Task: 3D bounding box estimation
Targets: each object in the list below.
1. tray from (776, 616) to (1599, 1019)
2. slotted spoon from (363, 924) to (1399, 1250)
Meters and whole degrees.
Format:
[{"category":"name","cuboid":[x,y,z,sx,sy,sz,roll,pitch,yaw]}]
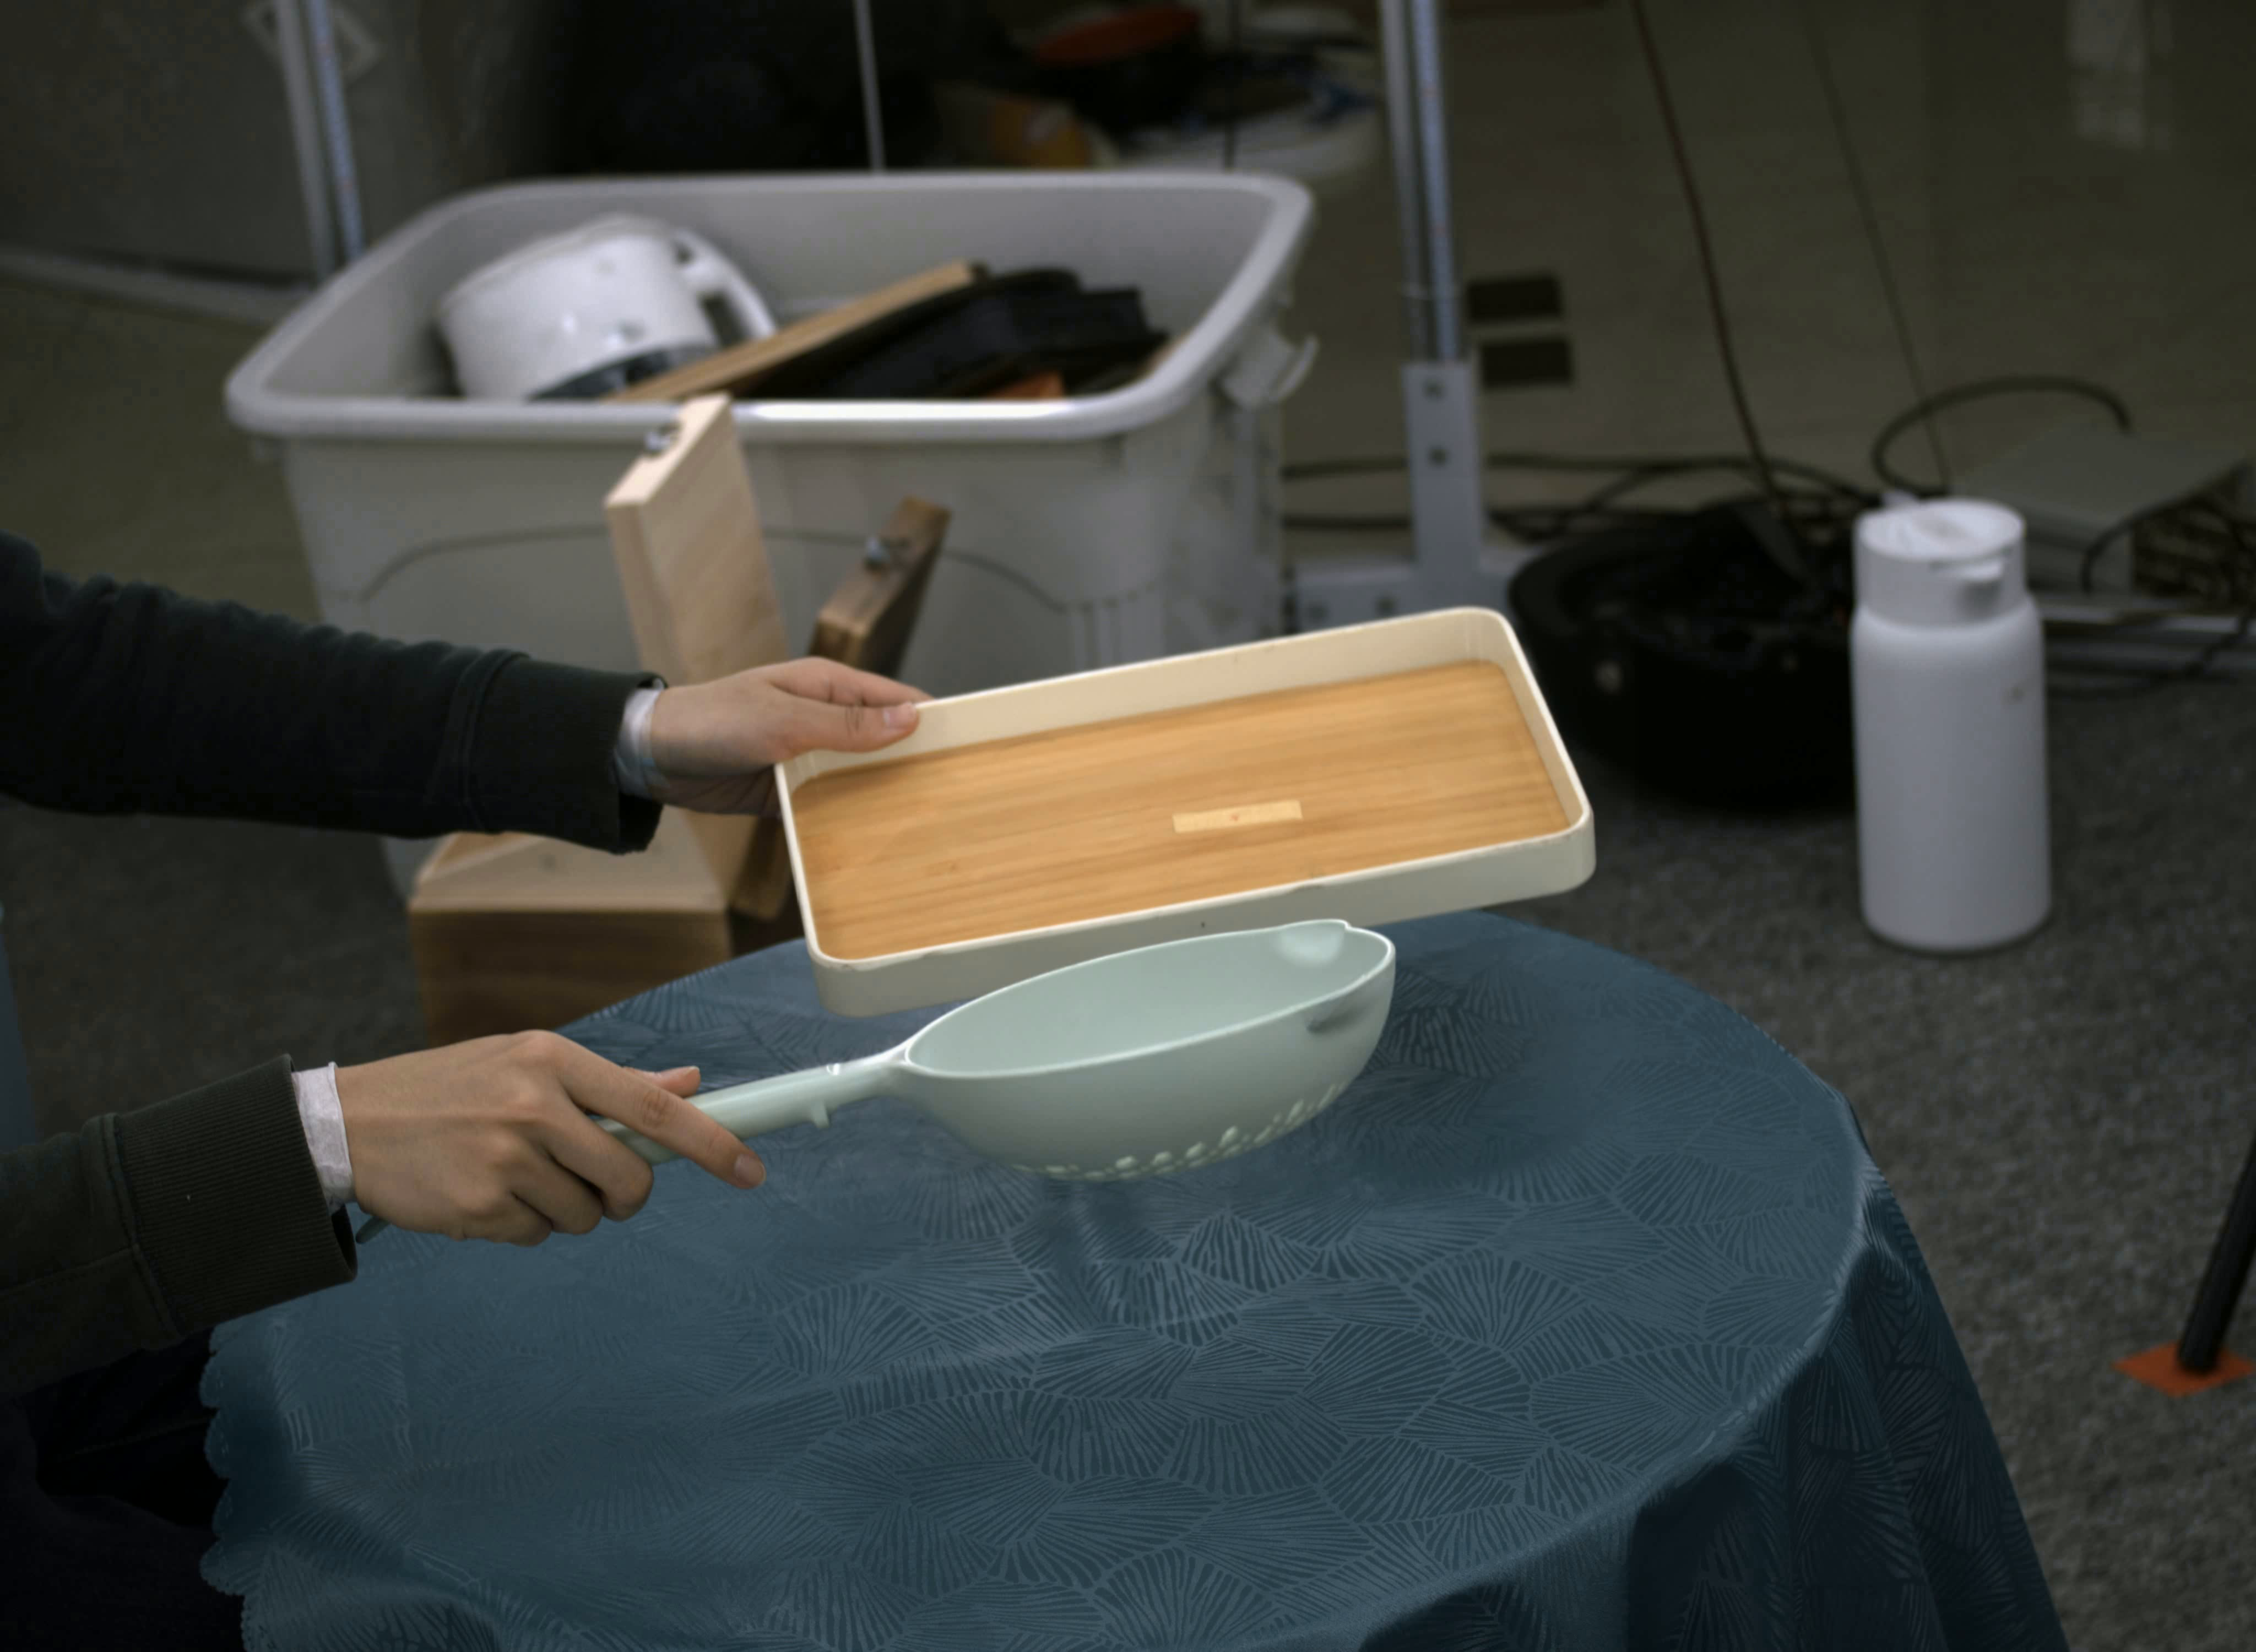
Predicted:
[{"category":"tray","cuboid":[0.019,-0.006,2.187,0.300,0.028,0.188,-9,31,-3]},{"category":"slotted spoon","cuboid":[-0.085,0.093,1.922,0.358,0.076,0.168,-4,10,0]}]
